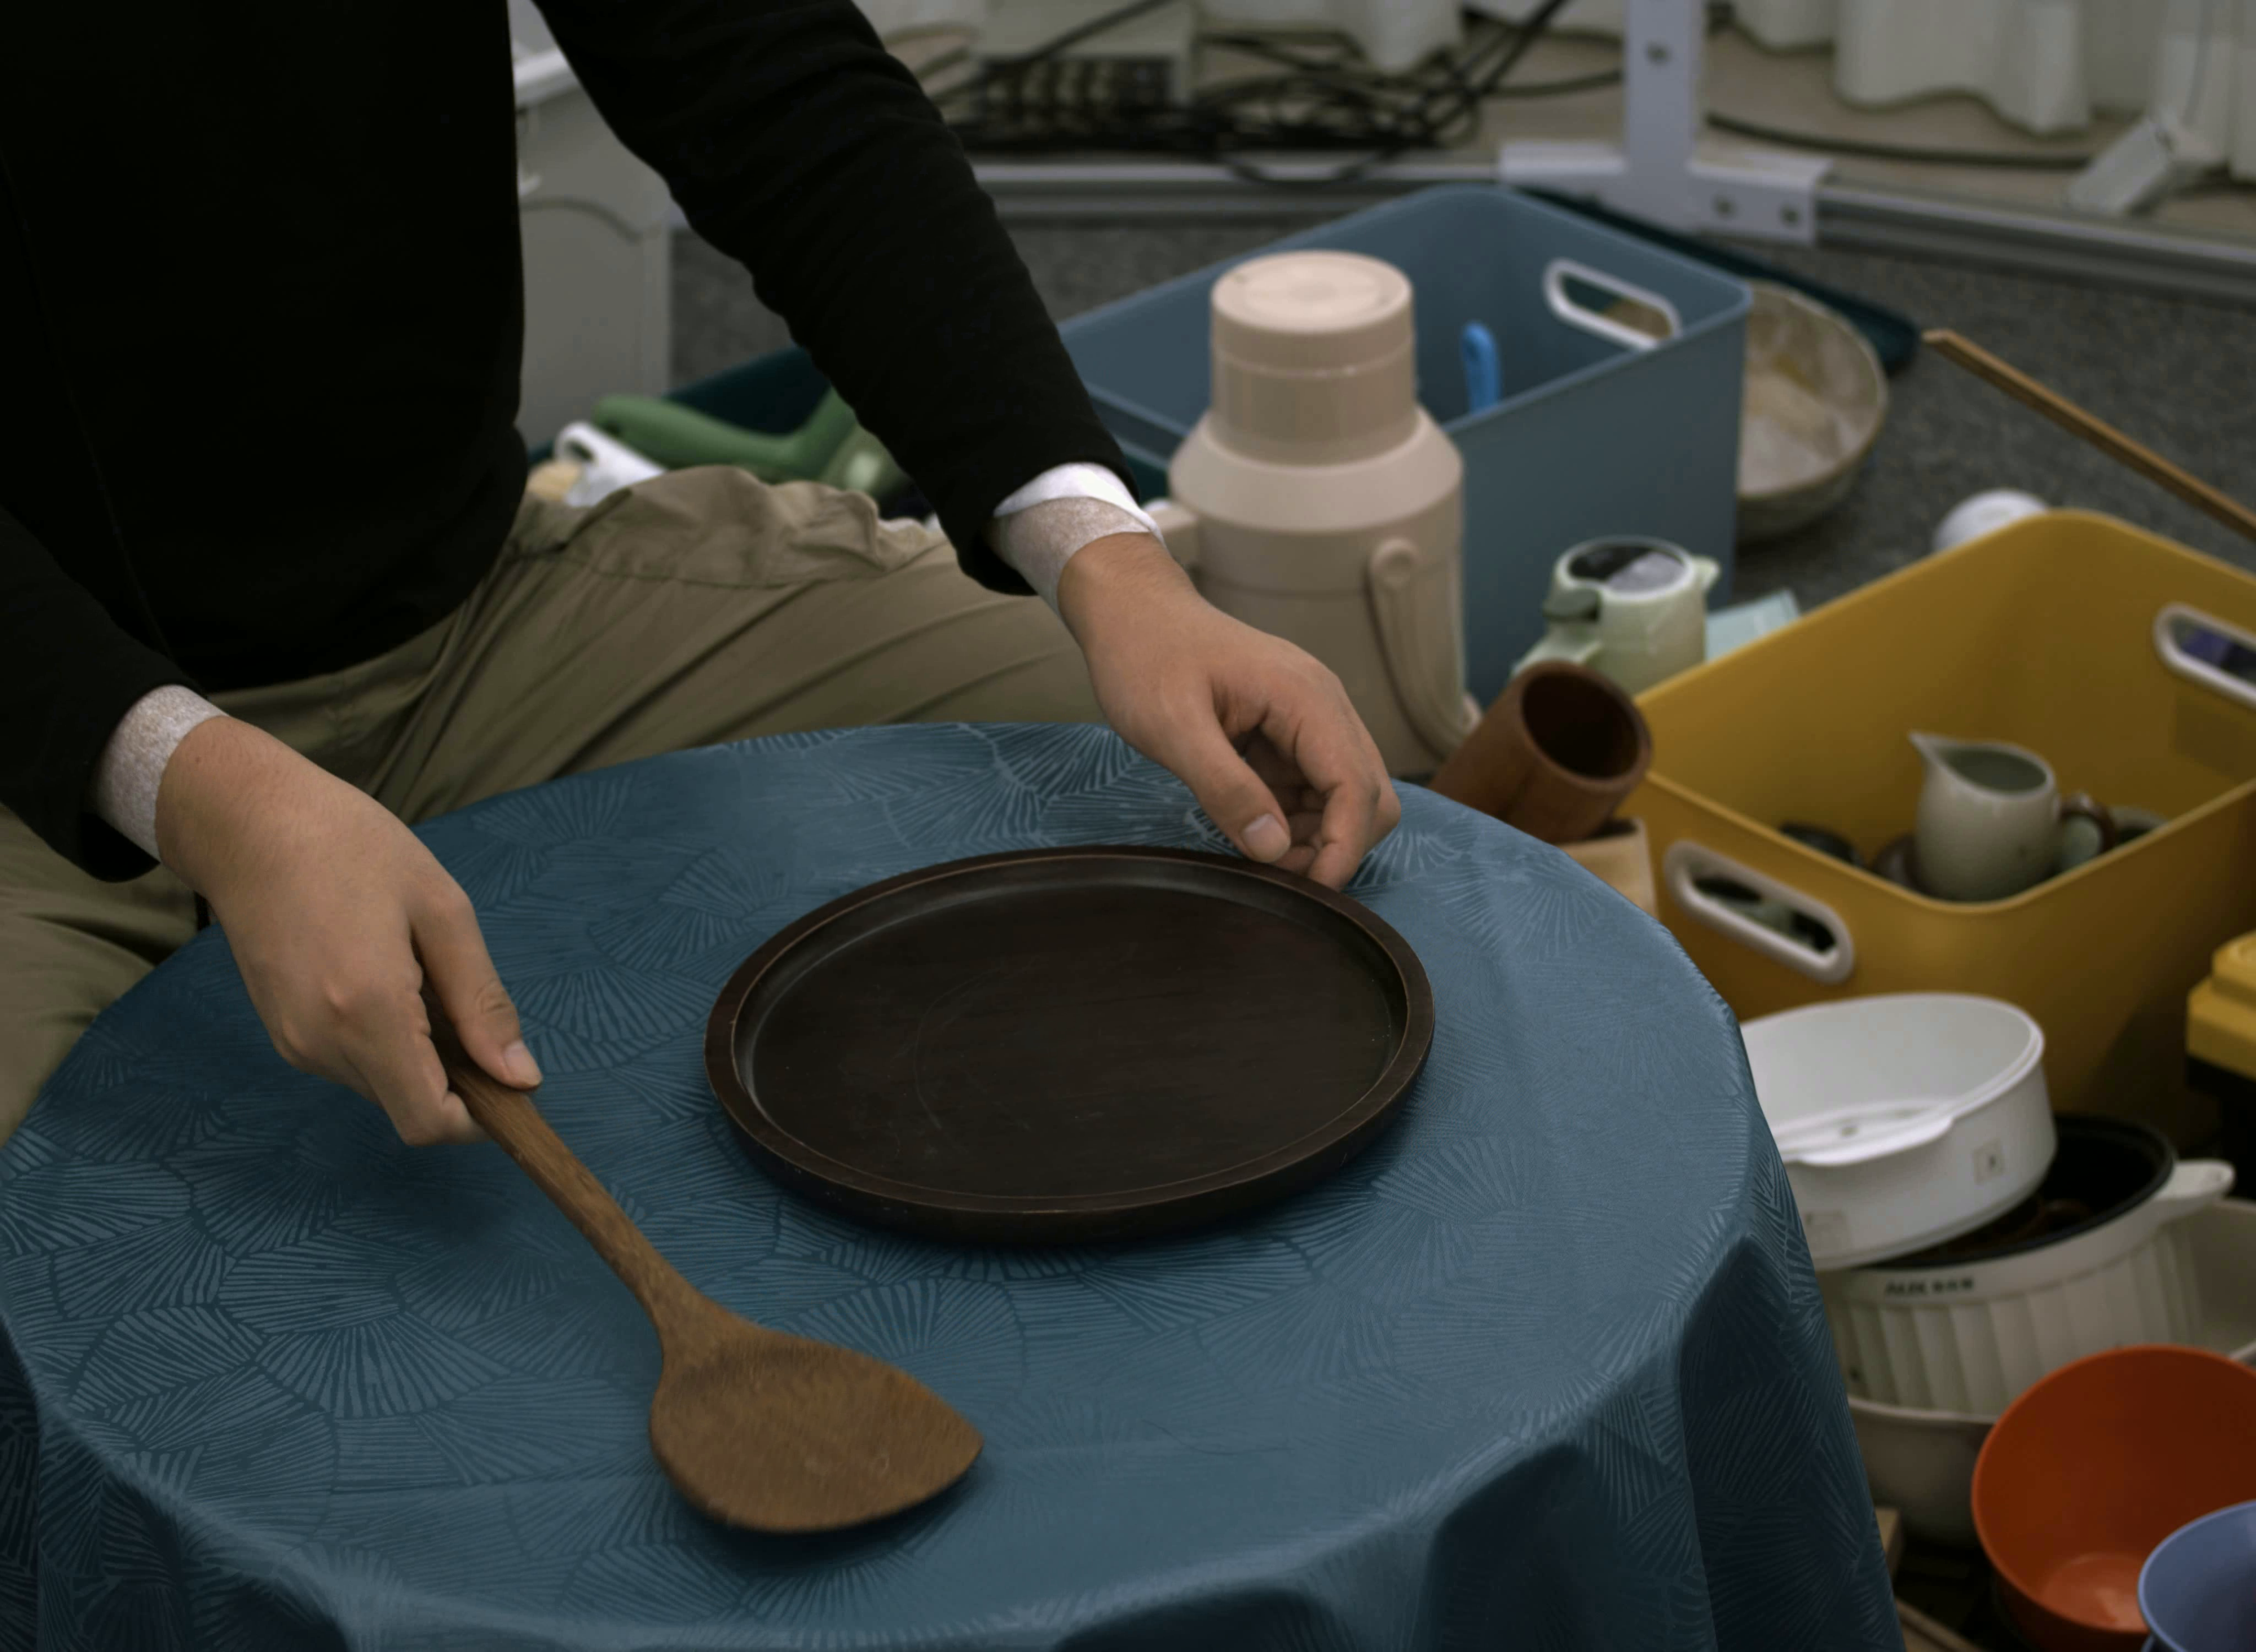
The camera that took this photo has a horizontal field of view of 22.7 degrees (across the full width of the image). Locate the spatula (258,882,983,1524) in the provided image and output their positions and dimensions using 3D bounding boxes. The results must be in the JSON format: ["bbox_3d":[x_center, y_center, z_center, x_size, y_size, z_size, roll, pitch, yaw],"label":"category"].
[{"bbox_3d":[-0.184,0.113,1.811,0.097,0.015,0.388,-14,38,-33],"label":"spatula"}]

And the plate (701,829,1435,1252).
[{"bbox_3d":[-0.020,0.075,1.928,0.253,0.029,0.259,-3,28,2],"label":"plate"}]
